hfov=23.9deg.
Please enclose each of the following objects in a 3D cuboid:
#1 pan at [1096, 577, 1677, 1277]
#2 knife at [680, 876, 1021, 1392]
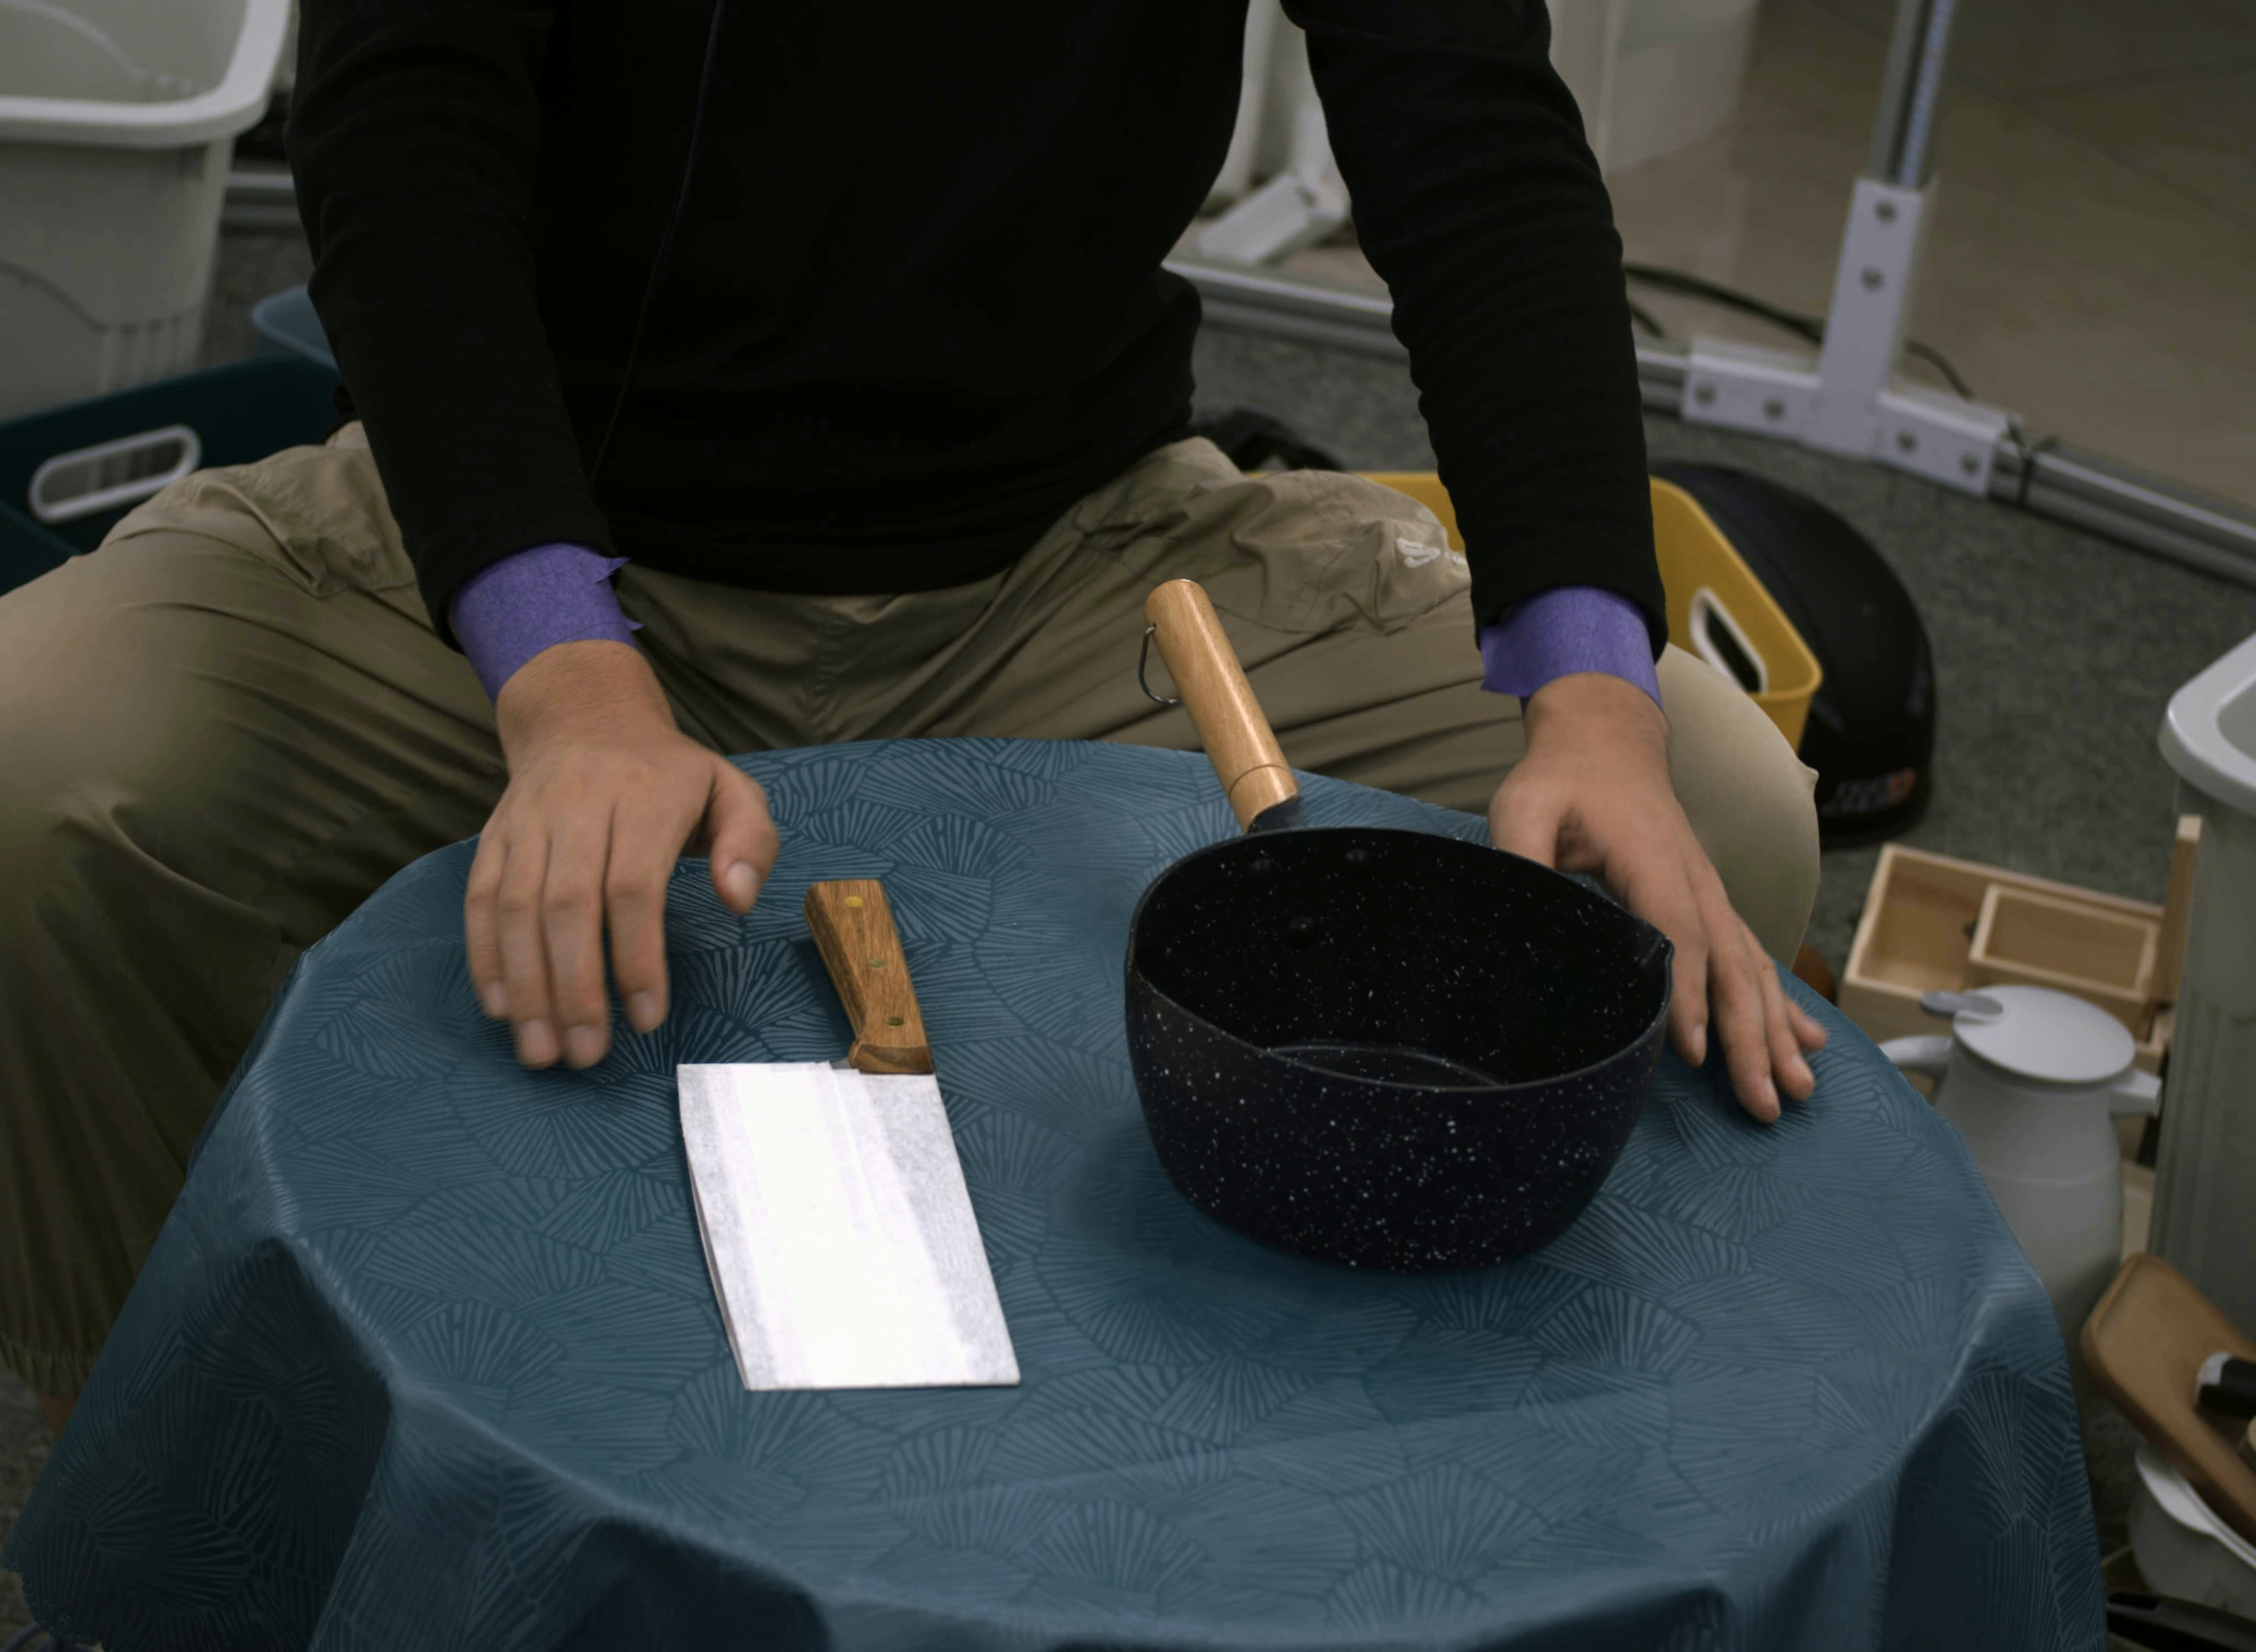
[{"bbox_3d":[0.063,0.033,1.882,0.206,0.108,0.346,-4,30,-20],"label":"pan"},{"bbox_3d":[-0.103,0.101,1.810,0.092,0.021,0.308,-1,30,-12],"label":"knife"}]
